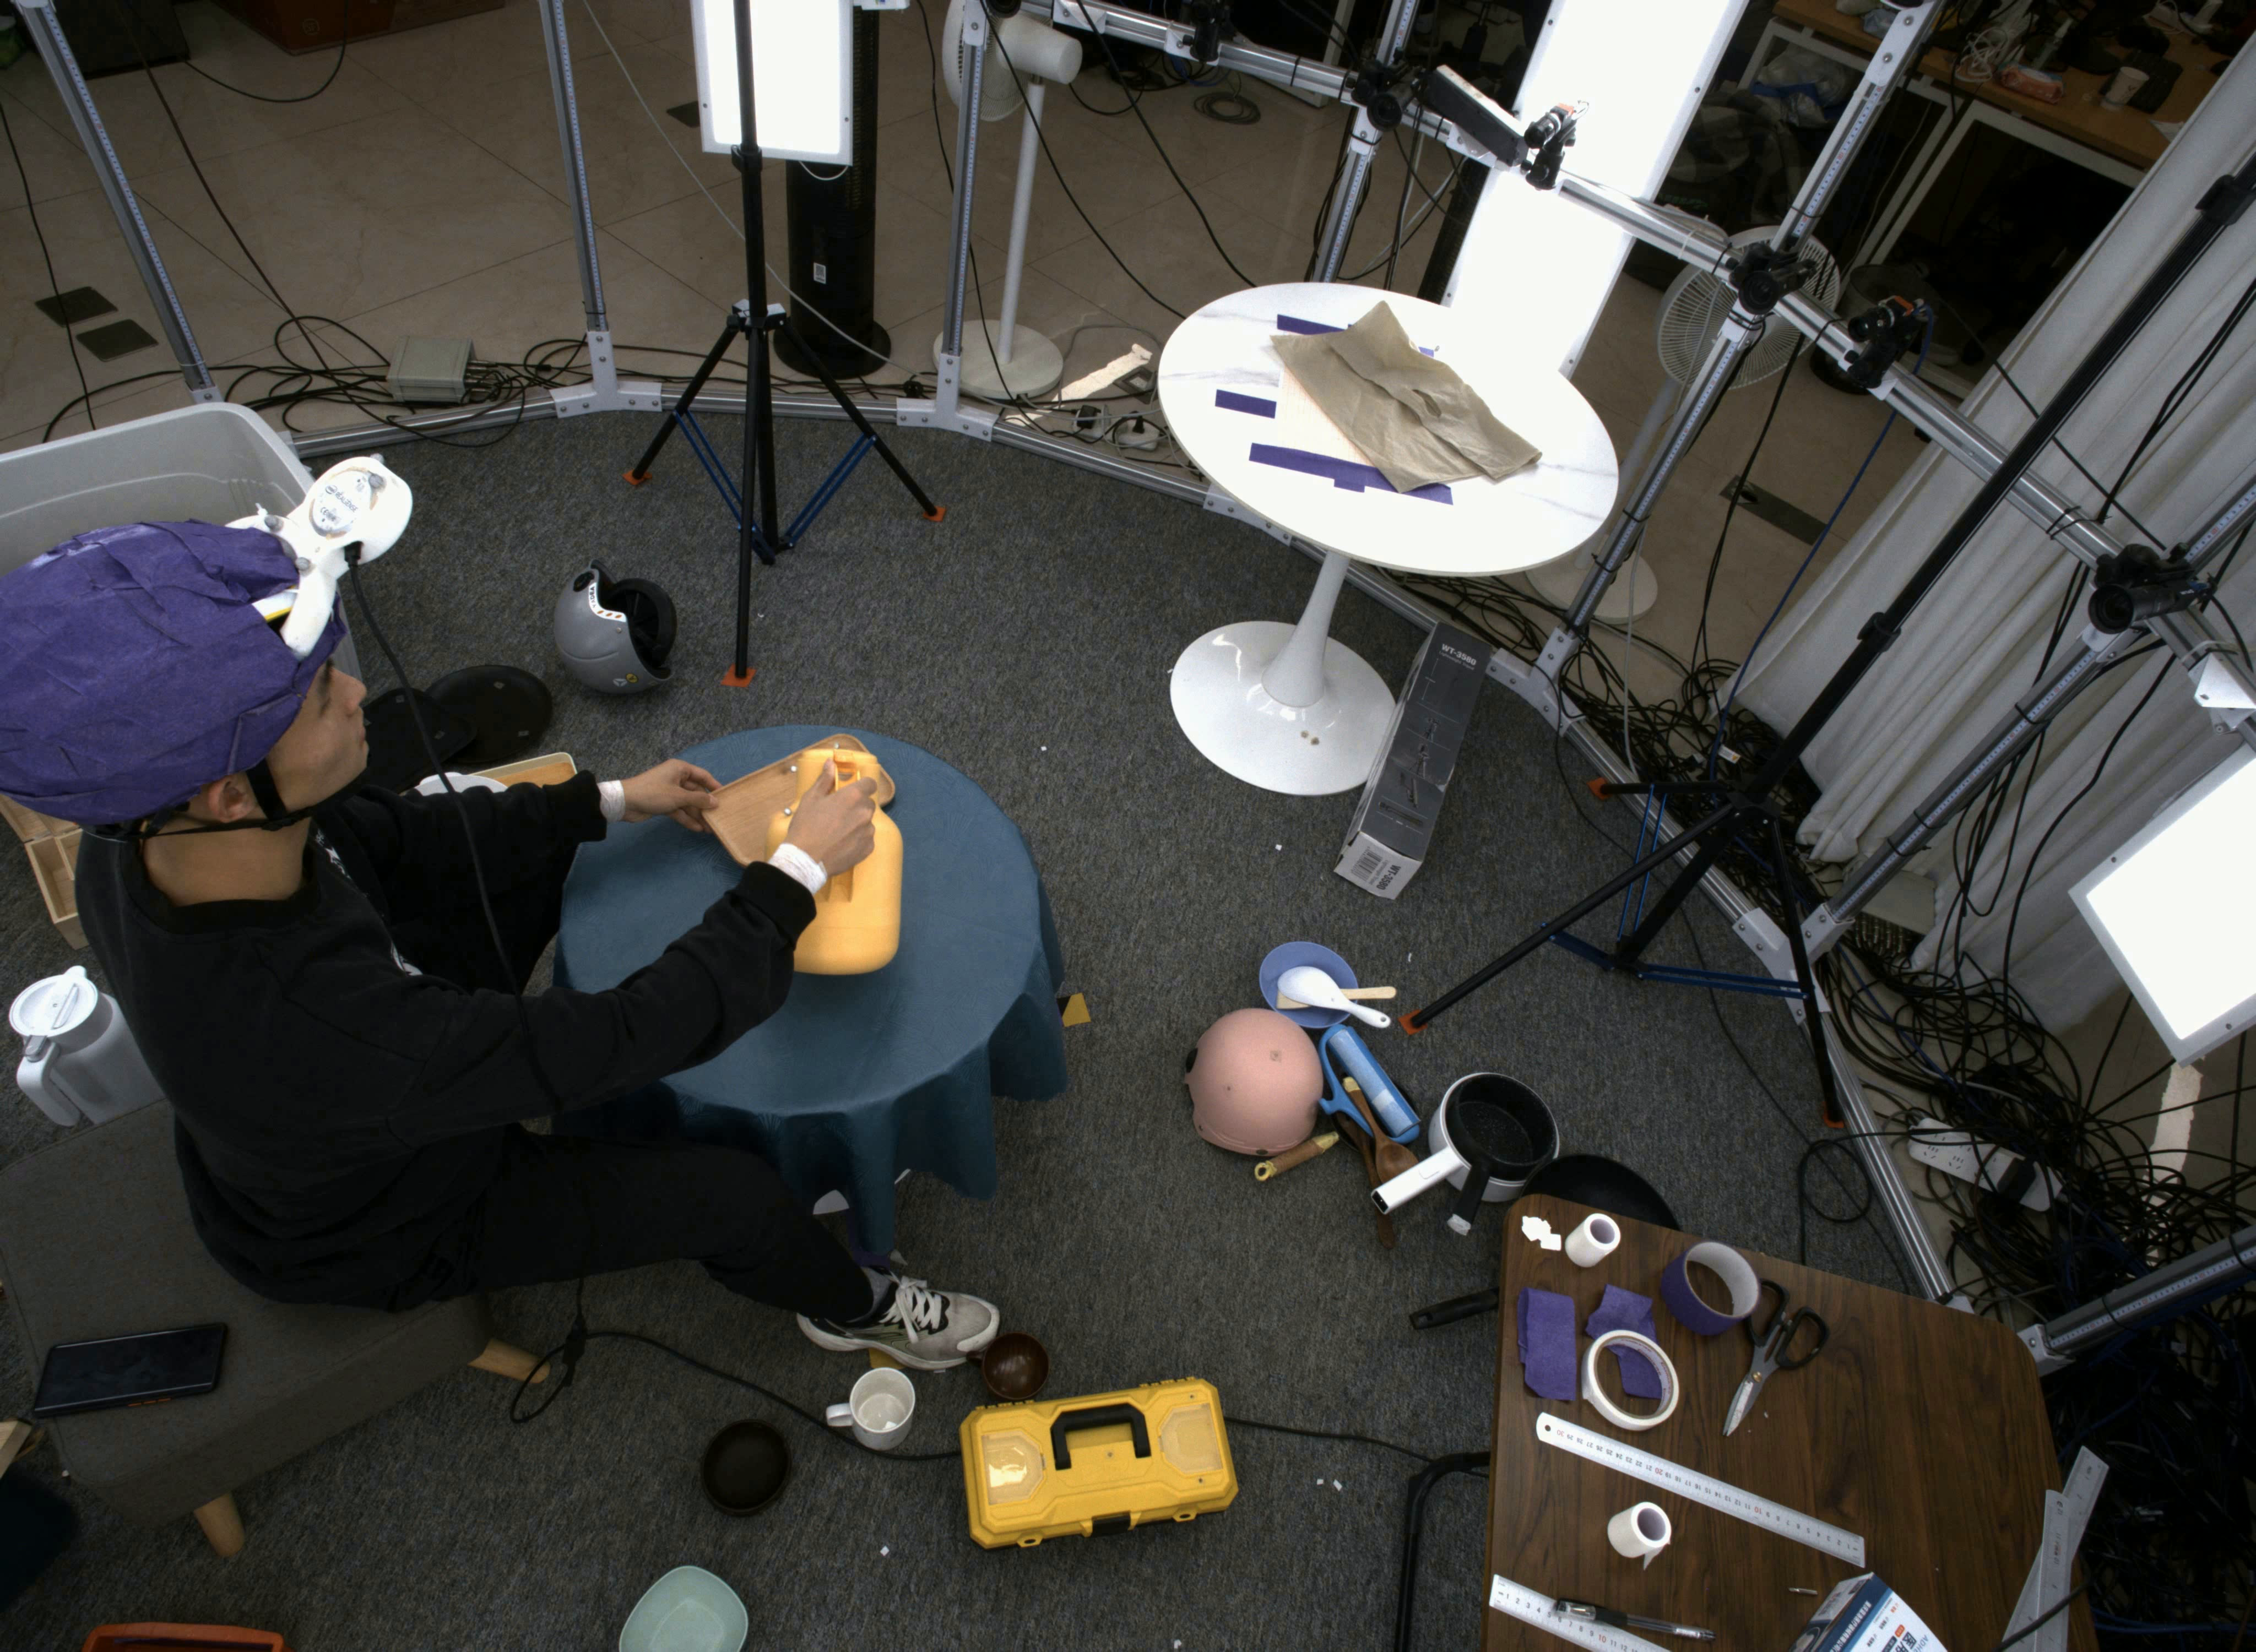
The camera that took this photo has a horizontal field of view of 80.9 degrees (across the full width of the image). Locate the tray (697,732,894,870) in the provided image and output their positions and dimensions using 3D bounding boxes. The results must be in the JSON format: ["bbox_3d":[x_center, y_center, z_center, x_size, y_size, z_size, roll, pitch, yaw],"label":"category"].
[{"bbox_3d":[-0.436,-0.036,1.712,0.252,0.023,0.128,-31,73,-35],"label":"tray"}]

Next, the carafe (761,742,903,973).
[{"bbox_3d":[-0.341,0.034,1.502,0.164,0.199,0.264,0,93,-16],"label":"carafe"}]
